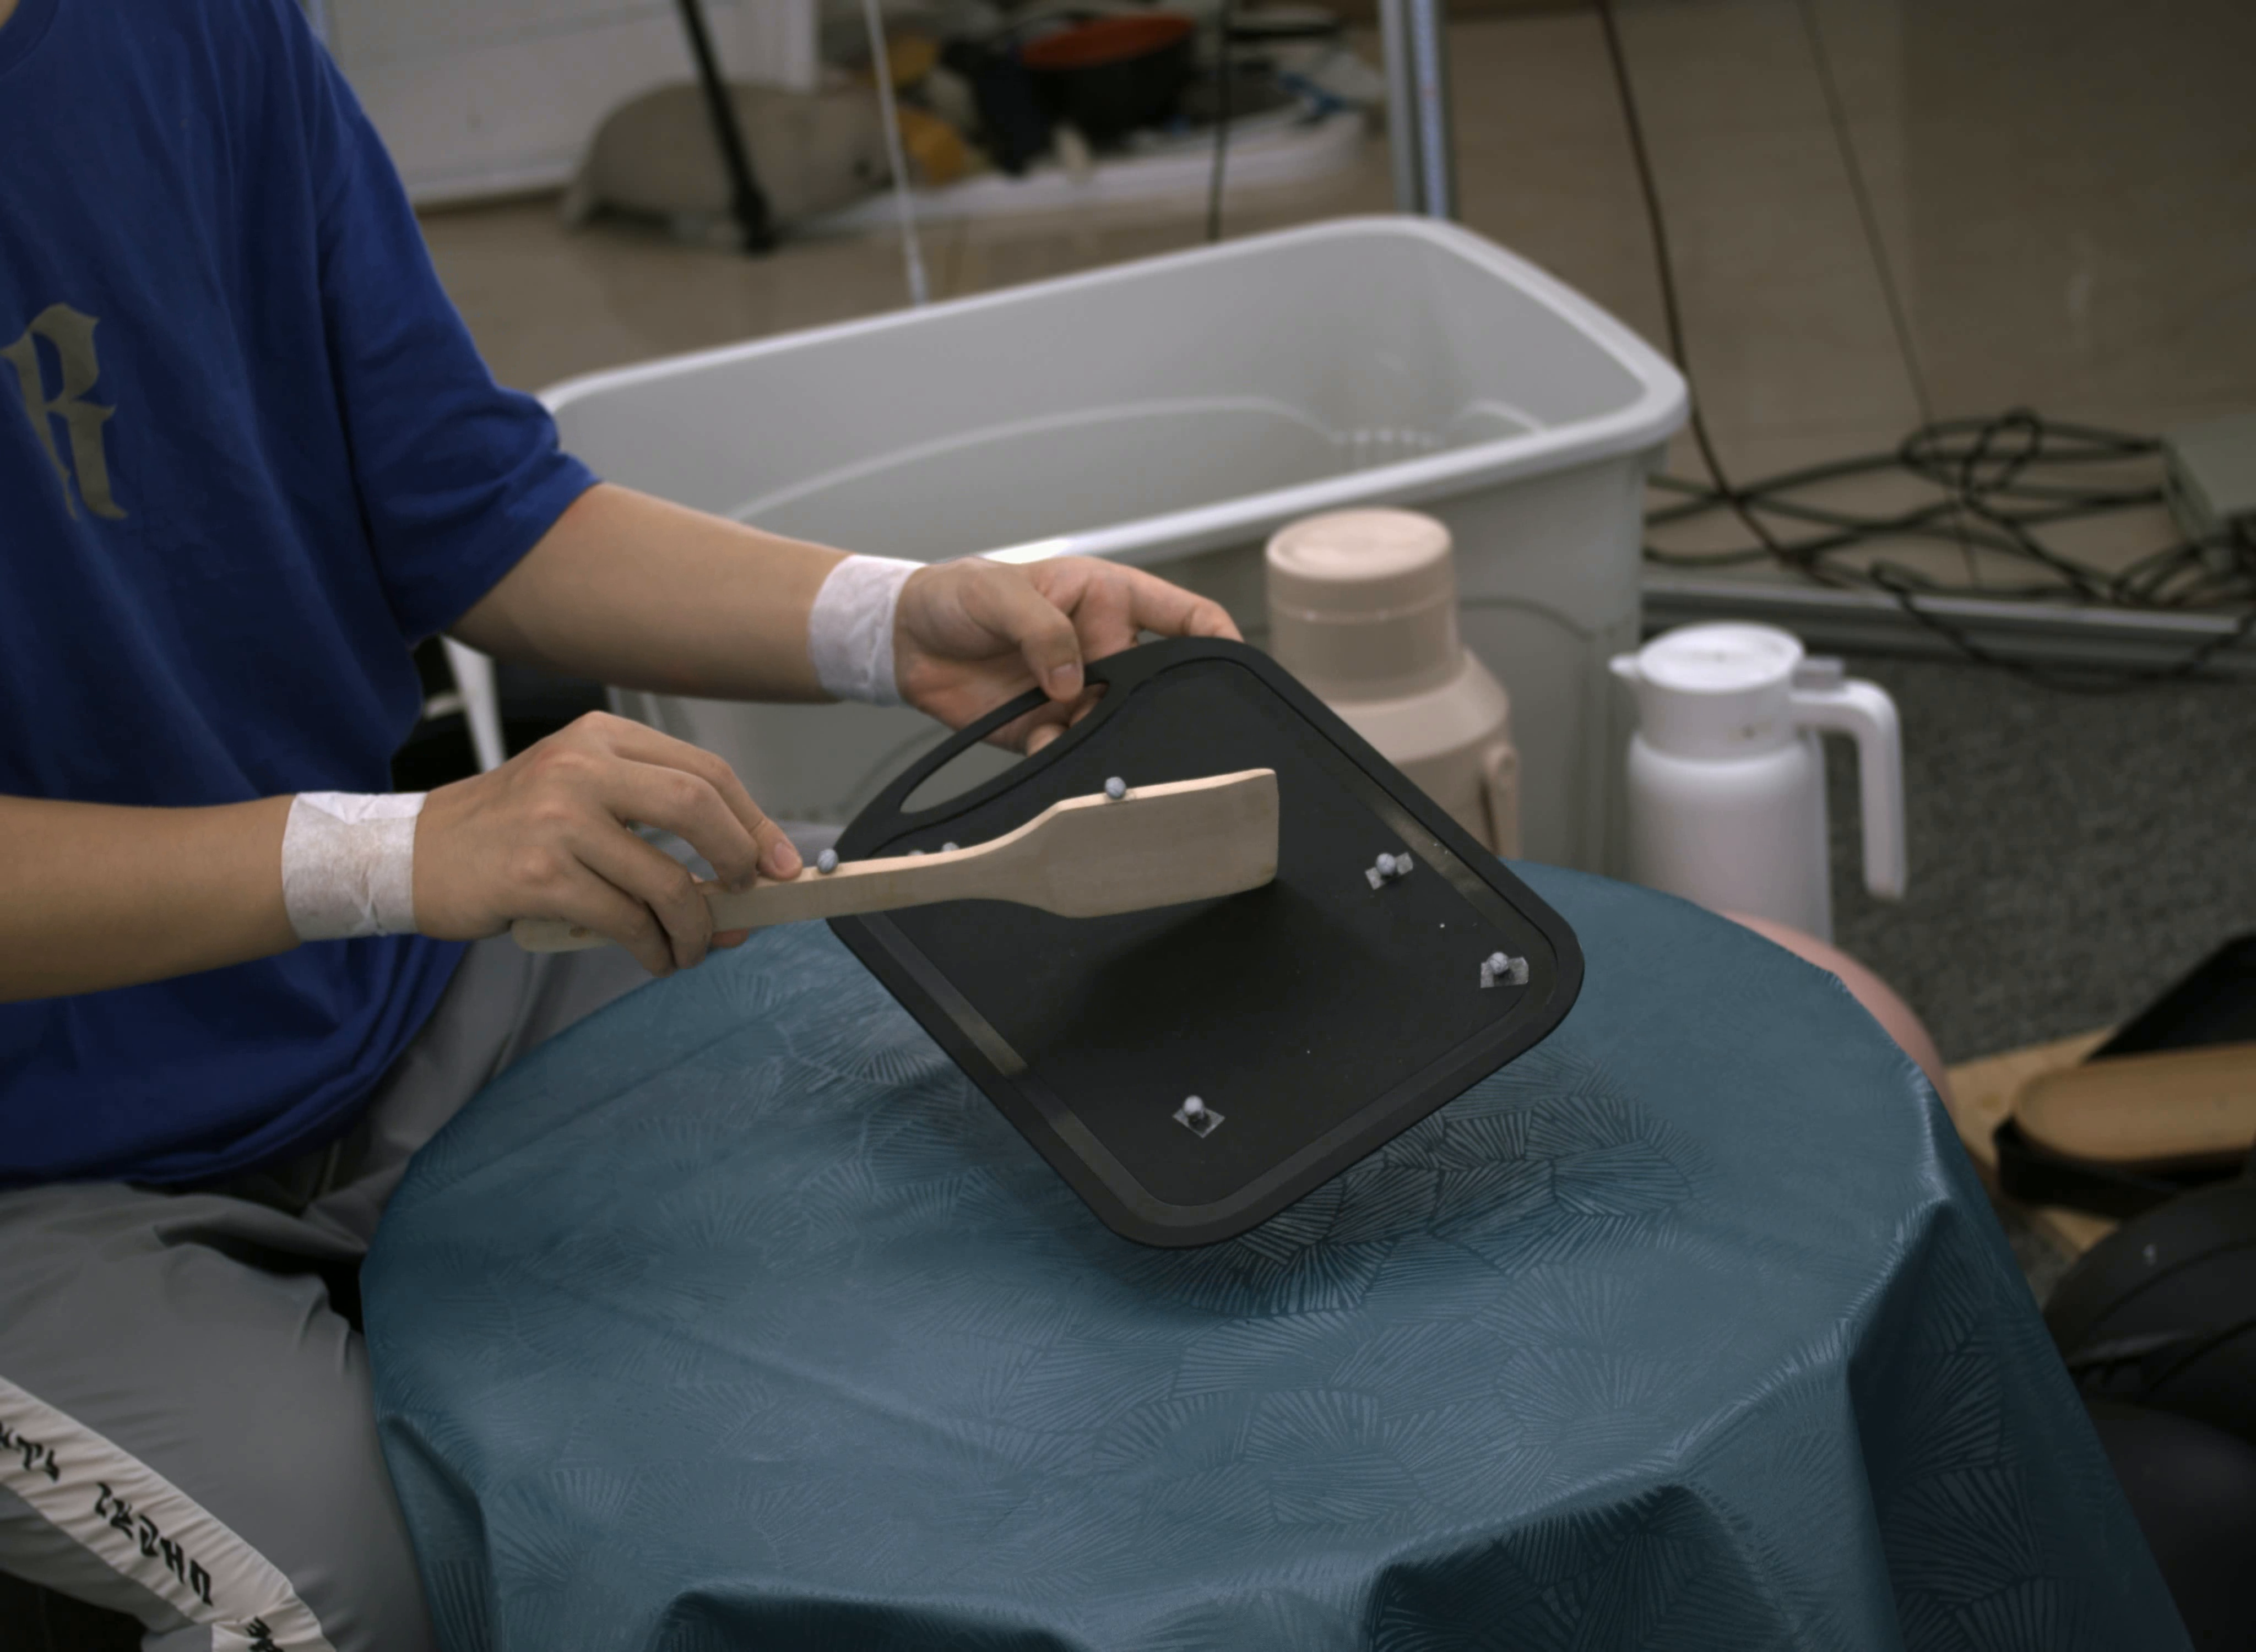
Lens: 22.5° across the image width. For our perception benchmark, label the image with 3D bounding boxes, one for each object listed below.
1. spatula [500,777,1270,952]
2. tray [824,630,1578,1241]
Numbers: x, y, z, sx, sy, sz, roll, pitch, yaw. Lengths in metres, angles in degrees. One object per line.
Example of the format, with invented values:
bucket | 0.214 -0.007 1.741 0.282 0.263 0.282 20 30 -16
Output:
spatula | -0.091 0.021 2.131 0.292 0.073 0.010 -7 53 -4
tray | 0.017 0.032 2.175 0.210 0.010 0.321 -33 43 -11
